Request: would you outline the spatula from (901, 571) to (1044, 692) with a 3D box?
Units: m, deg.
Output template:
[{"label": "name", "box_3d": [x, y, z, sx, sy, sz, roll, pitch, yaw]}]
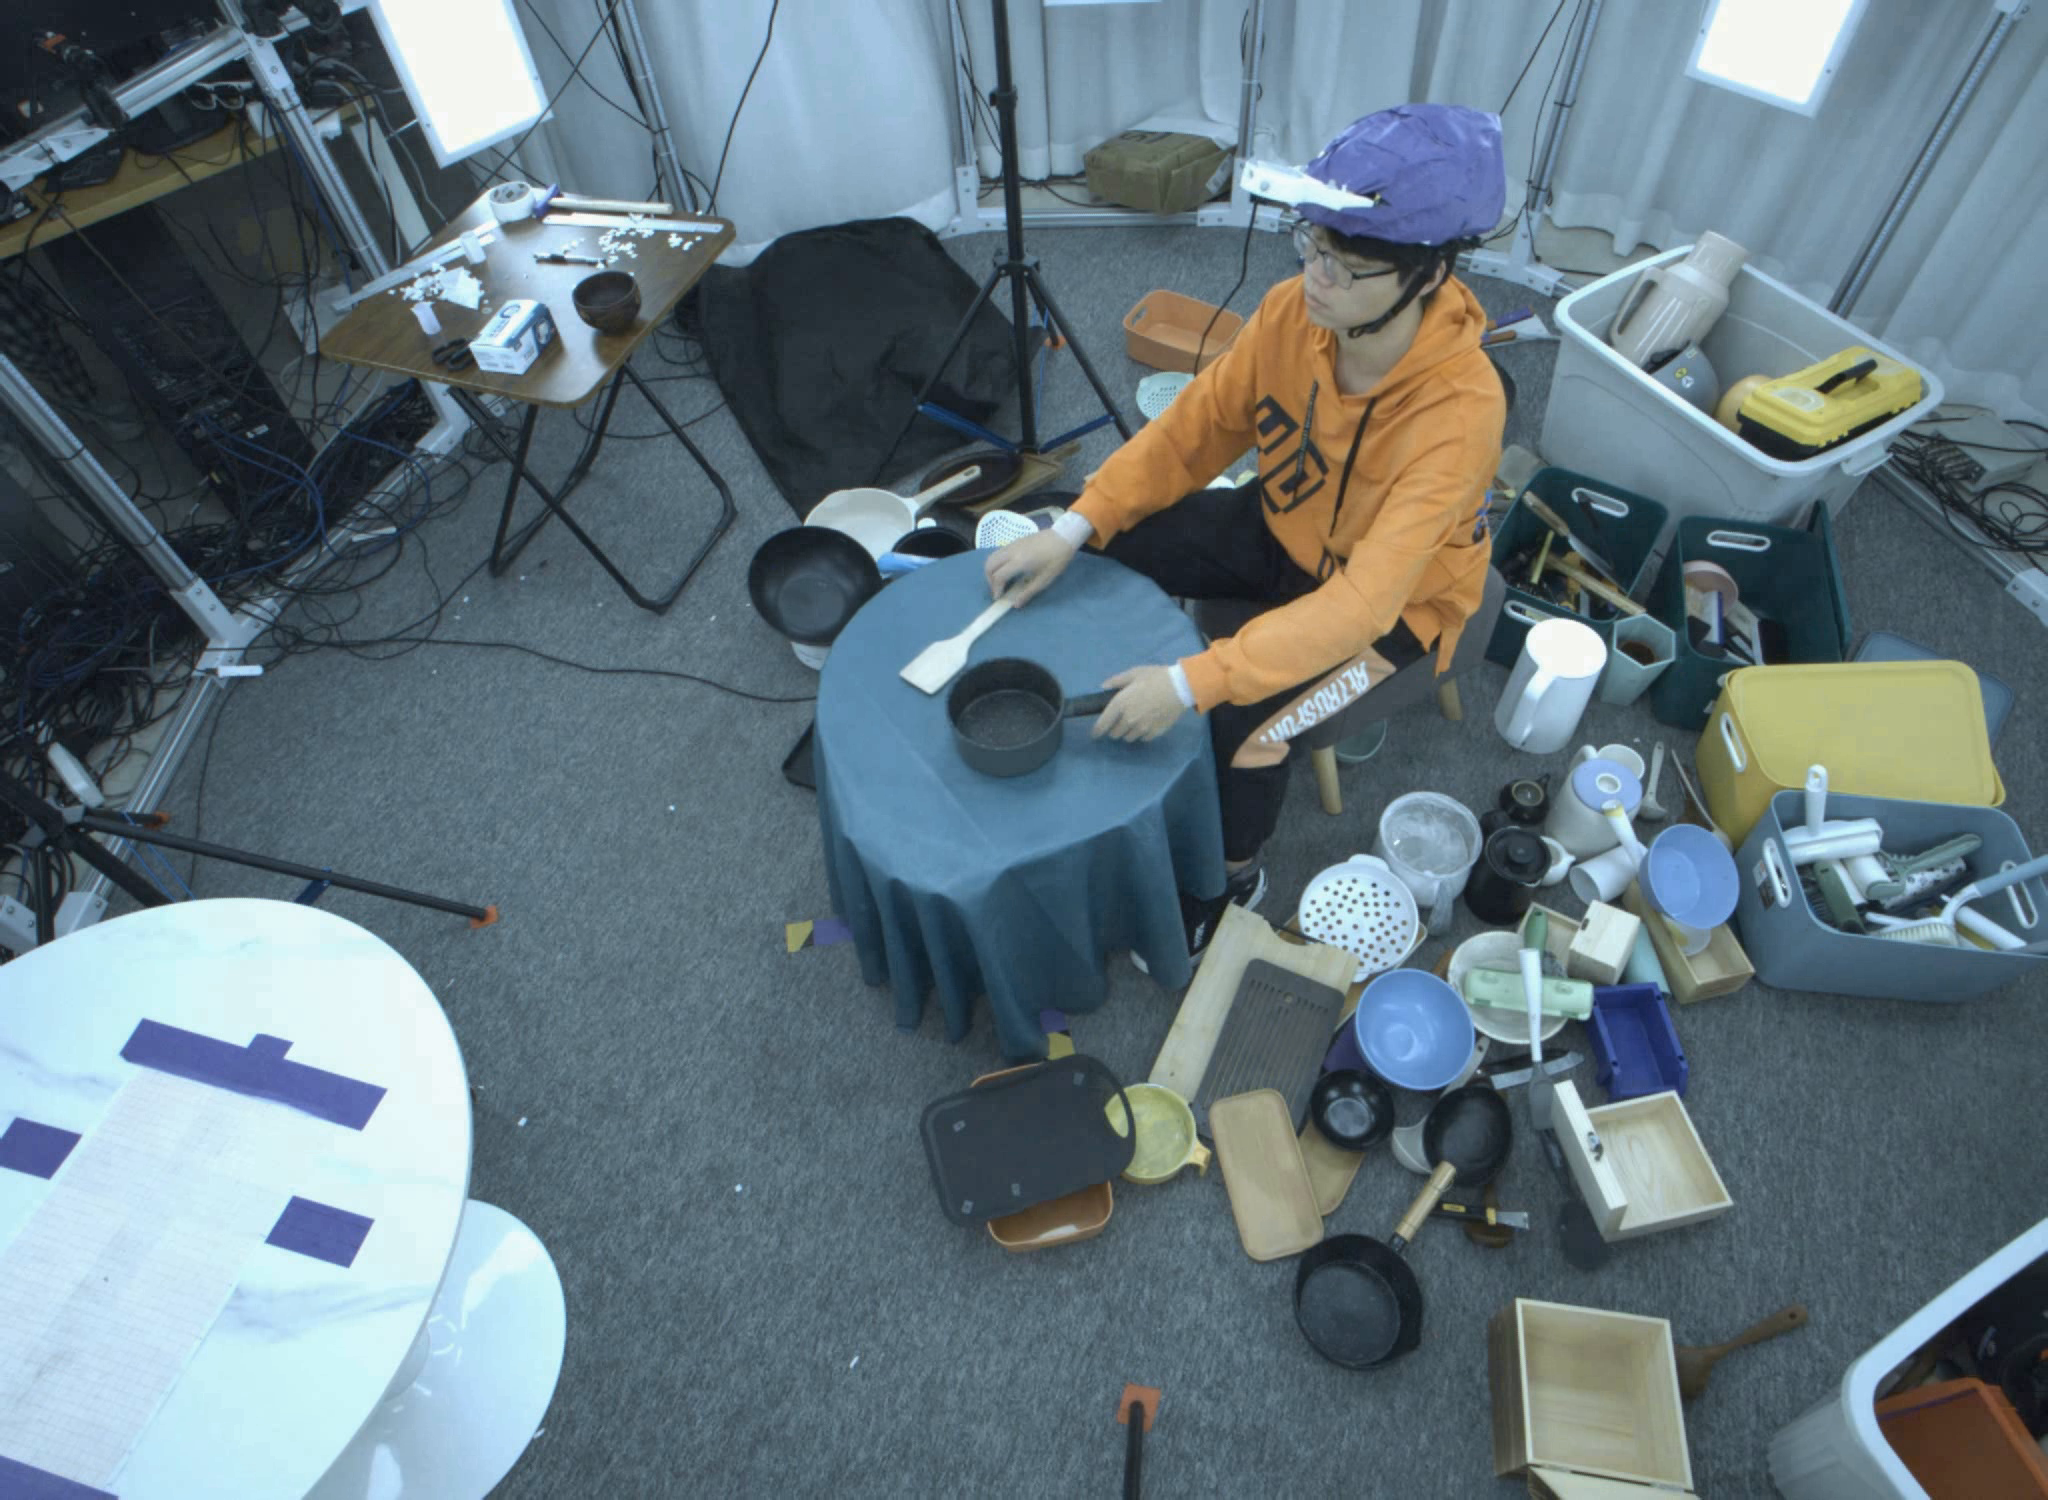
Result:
[{"label": "spatula", "box_3d": [-0.071, -0.194, 1.921, 0.071, 0.011, 0.295, 32, 62, 27]}]

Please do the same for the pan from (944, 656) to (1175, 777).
[{"label": "pan", "box_3d": [0.053, -0.051, 1.769, 0.328, 0.087, 0.170, -2, 55, 3]}]
